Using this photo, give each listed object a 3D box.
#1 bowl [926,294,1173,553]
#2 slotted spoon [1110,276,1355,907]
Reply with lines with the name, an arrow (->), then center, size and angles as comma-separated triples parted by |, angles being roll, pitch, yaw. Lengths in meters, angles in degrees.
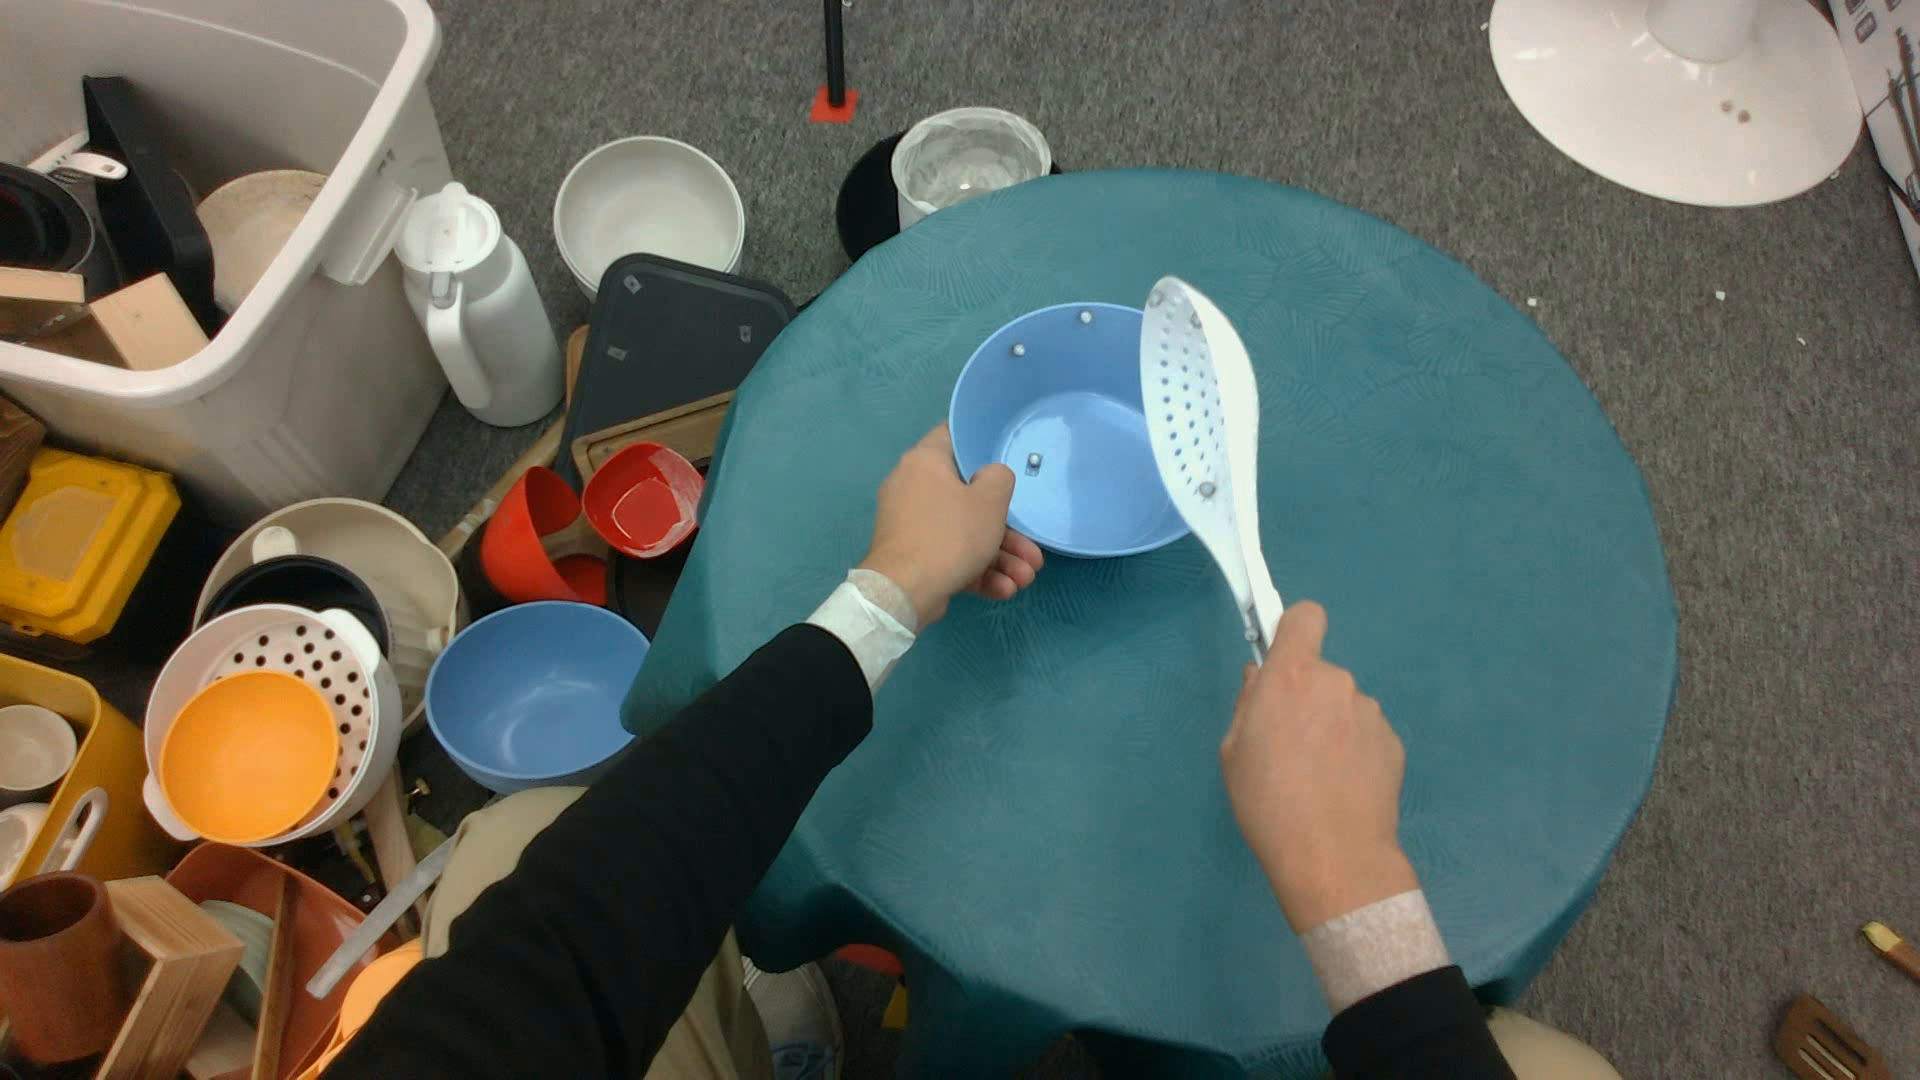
bowl -> 0.066, -0.060, 0.844 | 0.176, 0.070, 0.176 | 2, 65, -3
slotted spoon -> 0.139, 0.017, 0.725 | 0.046, 0.135, 0.351 | -5, 65, -9
